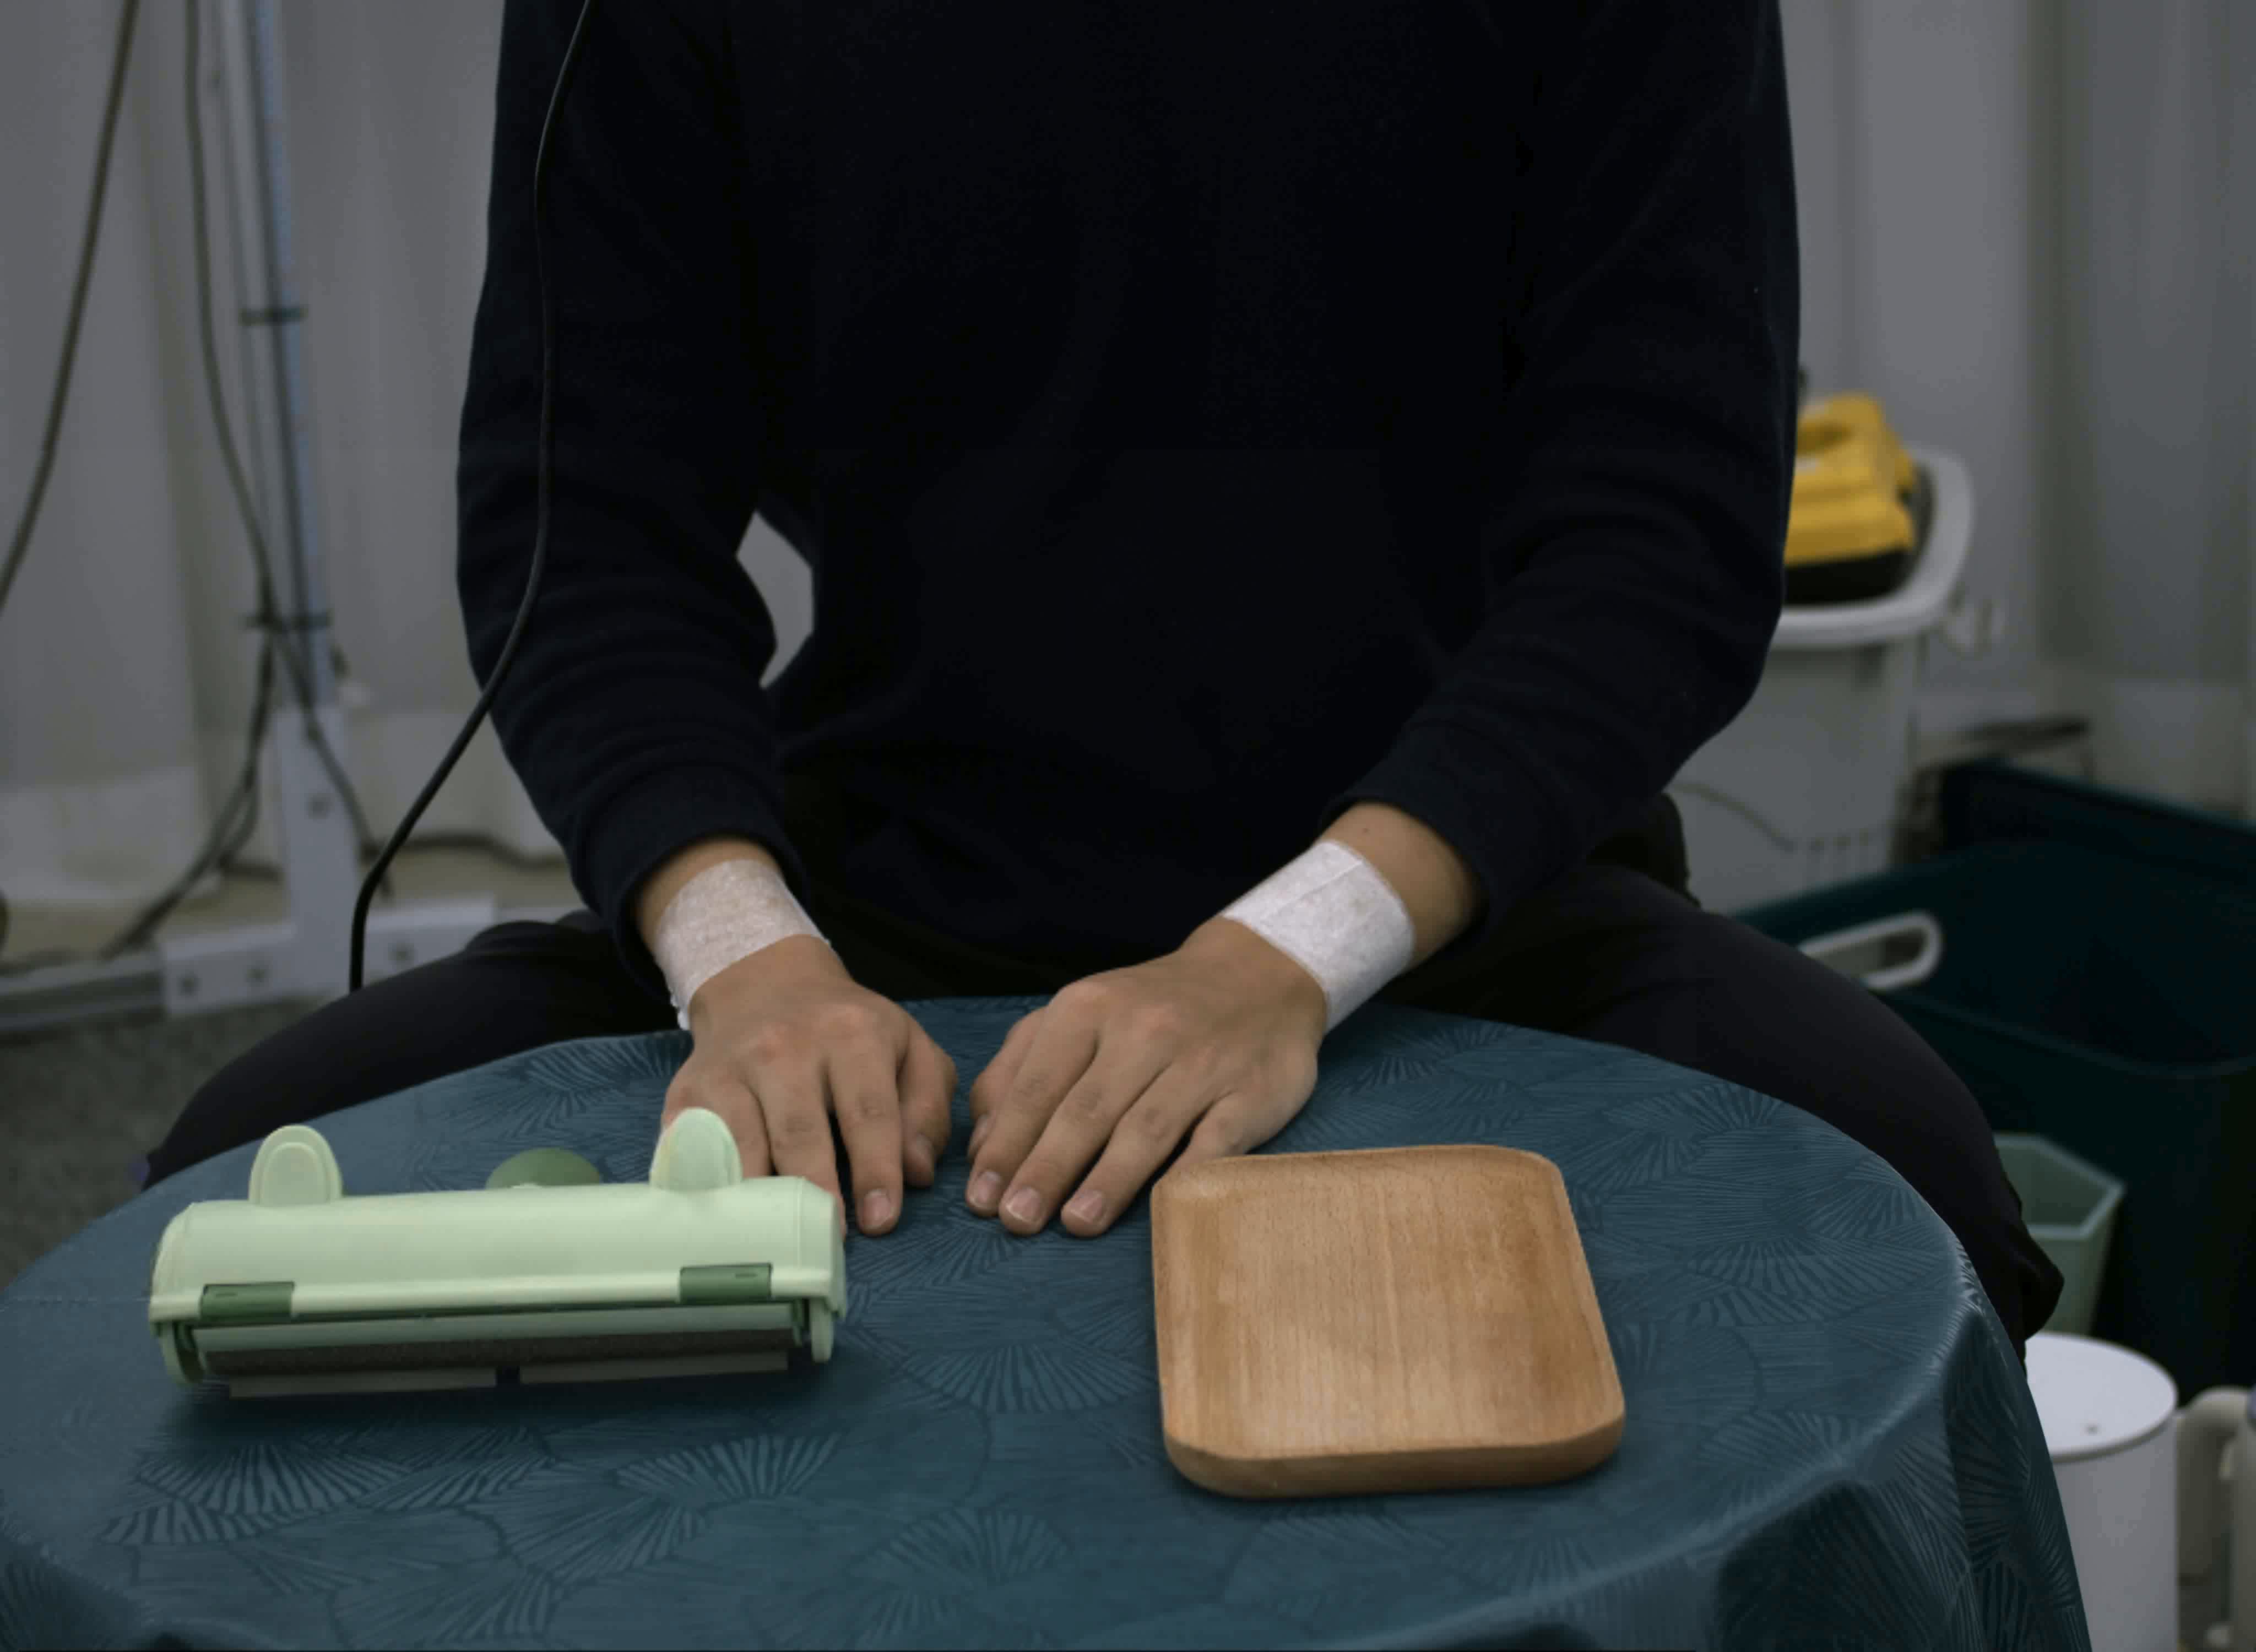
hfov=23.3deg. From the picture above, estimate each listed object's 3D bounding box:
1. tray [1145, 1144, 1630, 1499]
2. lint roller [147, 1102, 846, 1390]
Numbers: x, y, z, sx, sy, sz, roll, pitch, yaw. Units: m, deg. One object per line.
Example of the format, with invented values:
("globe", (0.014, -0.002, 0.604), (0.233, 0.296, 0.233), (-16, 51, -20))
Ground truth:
("tray", (0.071, 0.140, 1.576), (0.130, 0.023, 0.252), (-1, 14, 0))
("lint roller", (-0.181, 0.104, 1.624), (0.198, 0.081, 0.185), (-2, 21, 0))
